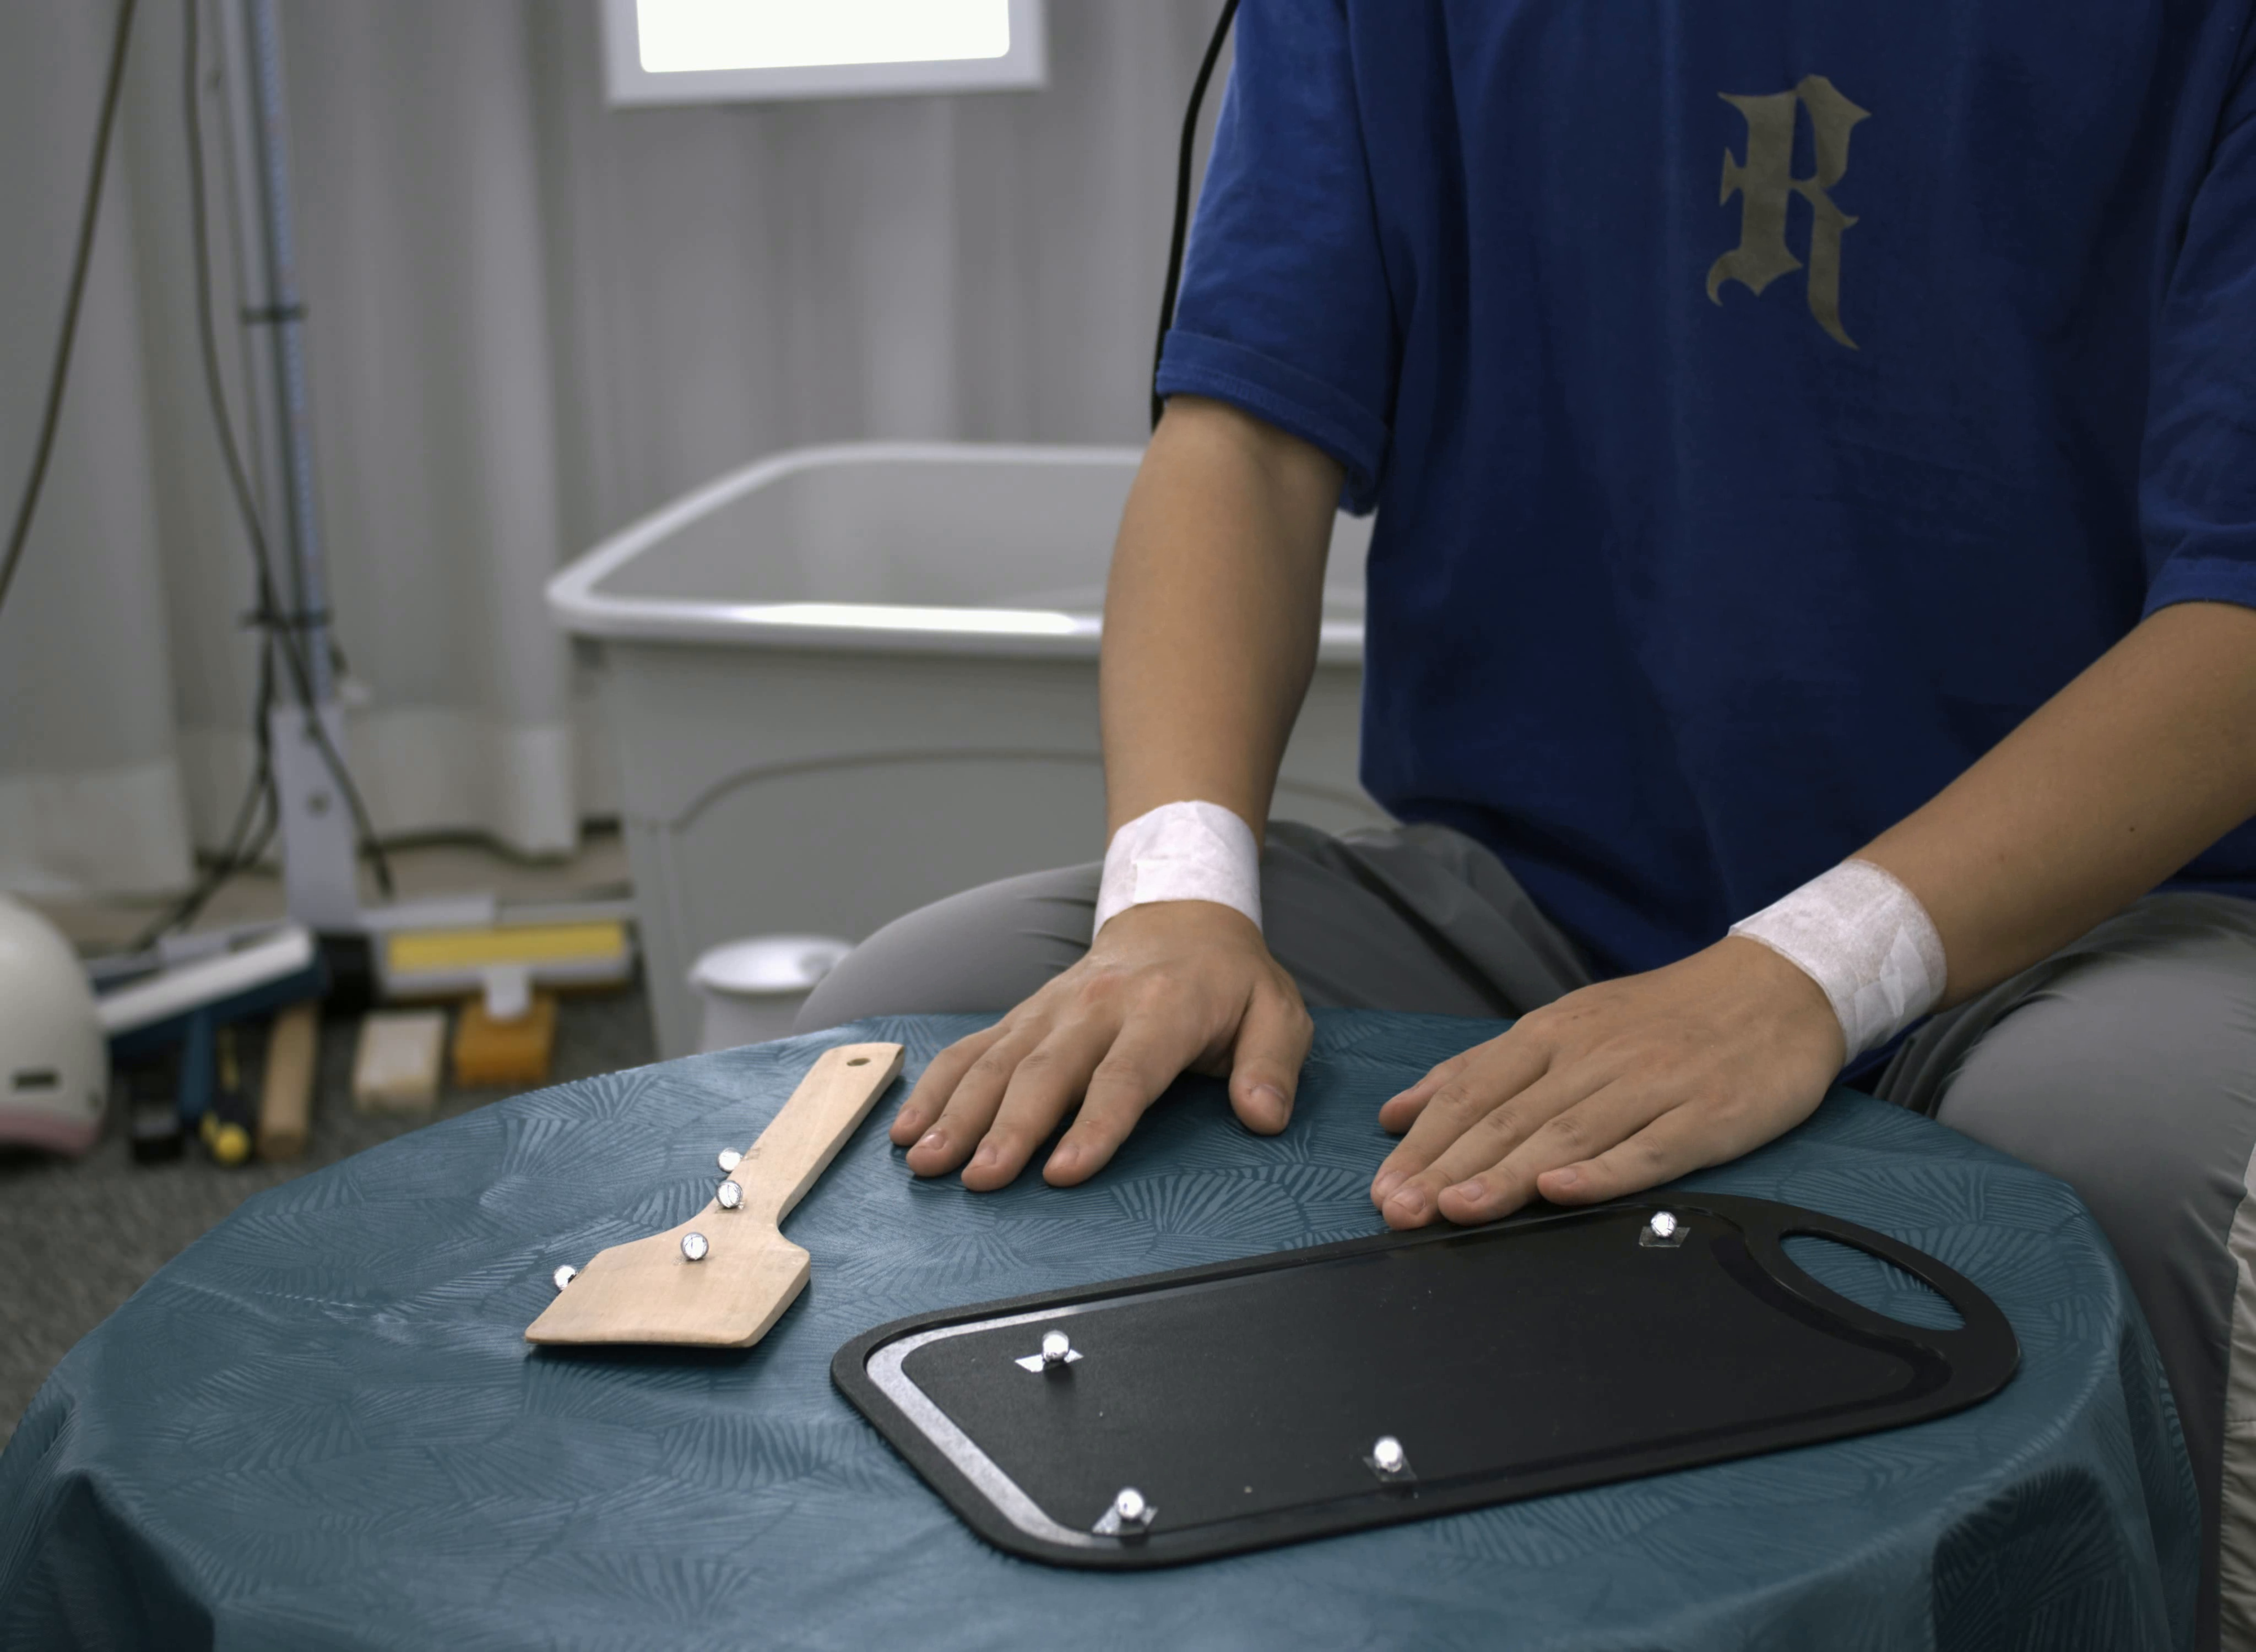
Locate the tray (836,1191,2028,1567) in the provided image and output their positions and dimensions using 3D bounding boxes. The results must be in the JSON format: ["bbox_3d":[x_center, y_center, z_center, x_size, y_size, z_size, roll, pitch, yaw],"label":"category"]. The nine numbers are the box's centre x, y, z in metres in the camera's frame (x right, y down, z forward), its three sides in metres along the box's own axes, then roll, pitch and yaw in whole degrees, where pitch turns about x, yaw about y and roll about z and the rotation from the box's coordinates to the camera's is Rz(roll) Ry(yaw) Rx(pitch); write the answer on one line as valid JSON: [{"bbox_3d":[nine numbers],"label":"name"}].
[{"bbox_3d":[0.090,0.150,1.548,0.324,0.010,0.213,-8,16,-18],"label":"tray"}]

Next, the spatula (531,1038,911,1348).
[{"bbox_3d":[-0.114,0.114,1.719,0.072,0.010,0.294,-1,15,12],"label":"spatula"}]
